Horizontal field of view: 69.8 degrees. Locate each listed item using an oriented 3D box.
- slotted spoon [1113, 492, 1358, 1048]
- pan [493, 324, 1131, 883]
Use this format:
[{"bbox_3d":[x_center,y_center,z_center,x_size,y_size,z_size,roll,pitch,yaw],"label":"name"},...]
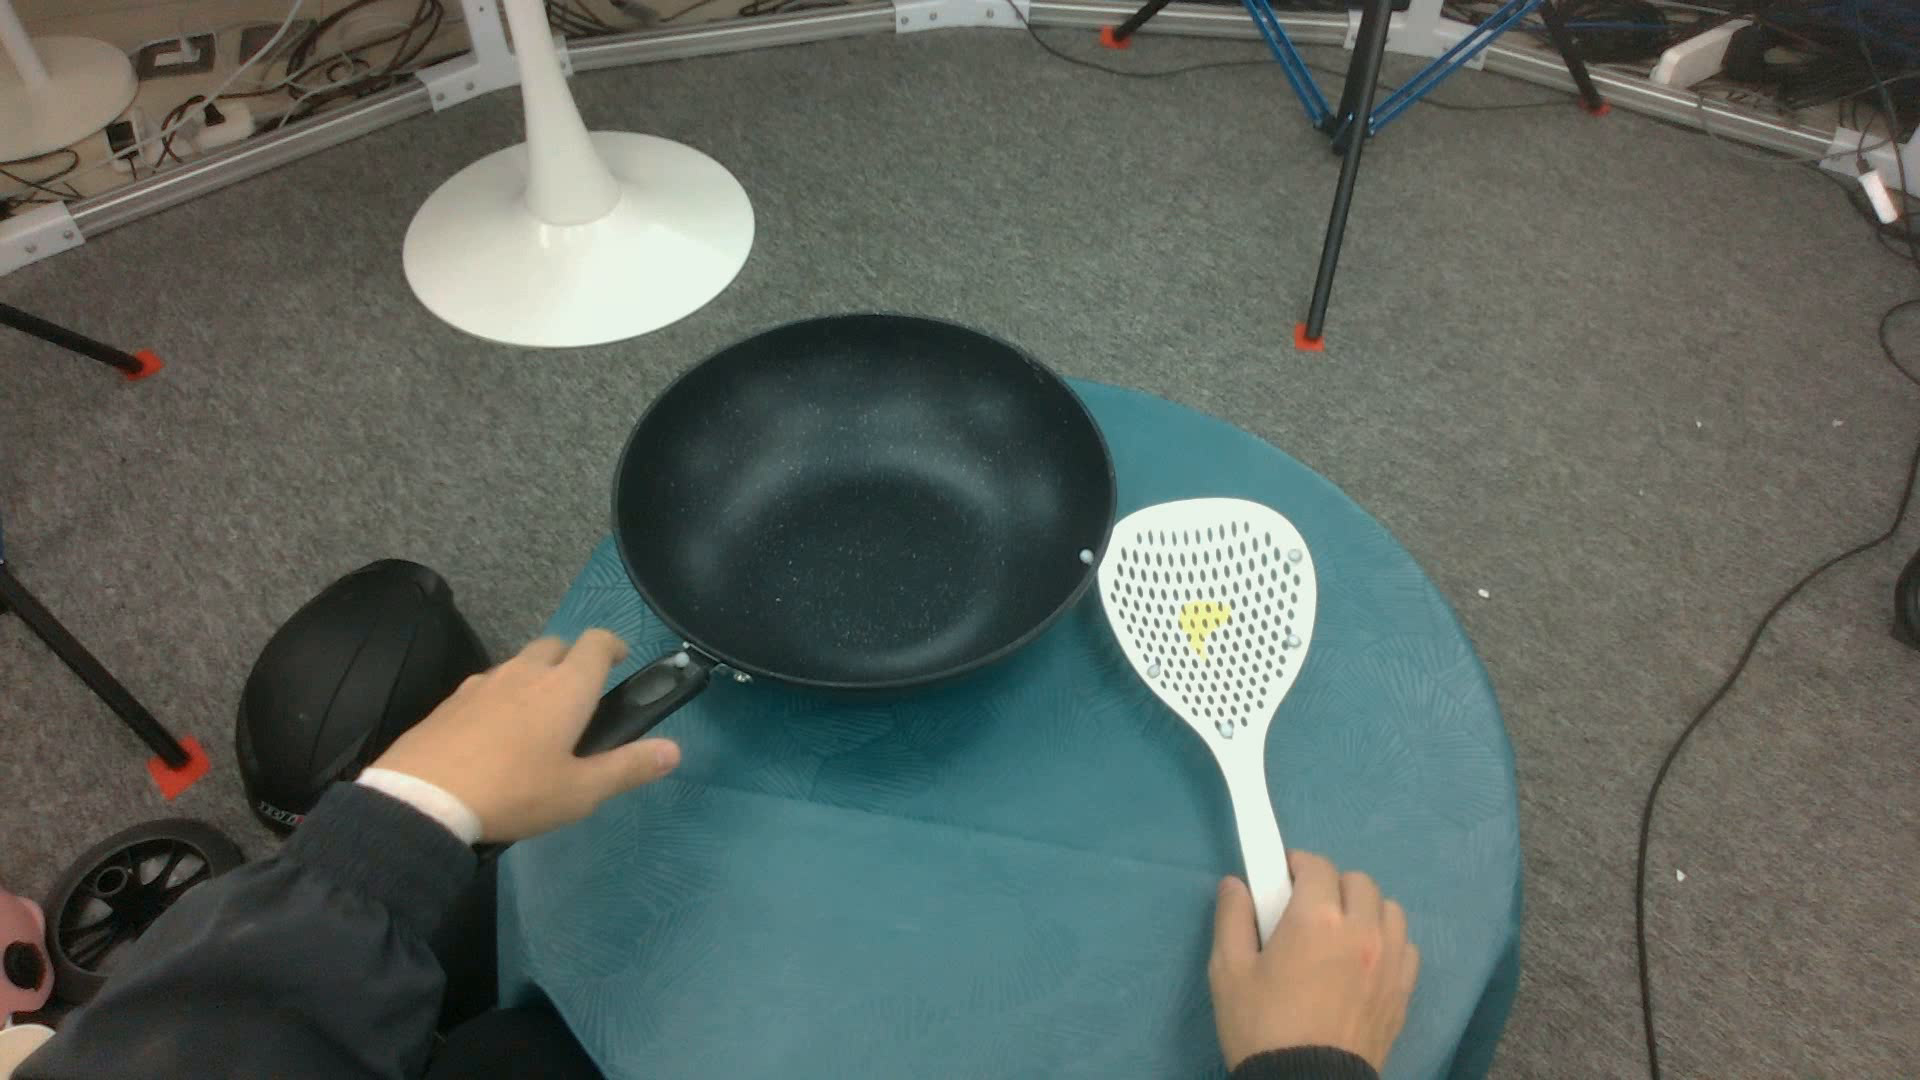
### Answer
[{"bbox_3d":[0.176,0.117,0.810,0.137,0.050,0.349,-5,50,-2],"label":"slotted spoon"},{"bbox_3d":[-0.092,0.040,0.839,0.310,0.111,0.479,24,54,22],"label":"pan"}]
